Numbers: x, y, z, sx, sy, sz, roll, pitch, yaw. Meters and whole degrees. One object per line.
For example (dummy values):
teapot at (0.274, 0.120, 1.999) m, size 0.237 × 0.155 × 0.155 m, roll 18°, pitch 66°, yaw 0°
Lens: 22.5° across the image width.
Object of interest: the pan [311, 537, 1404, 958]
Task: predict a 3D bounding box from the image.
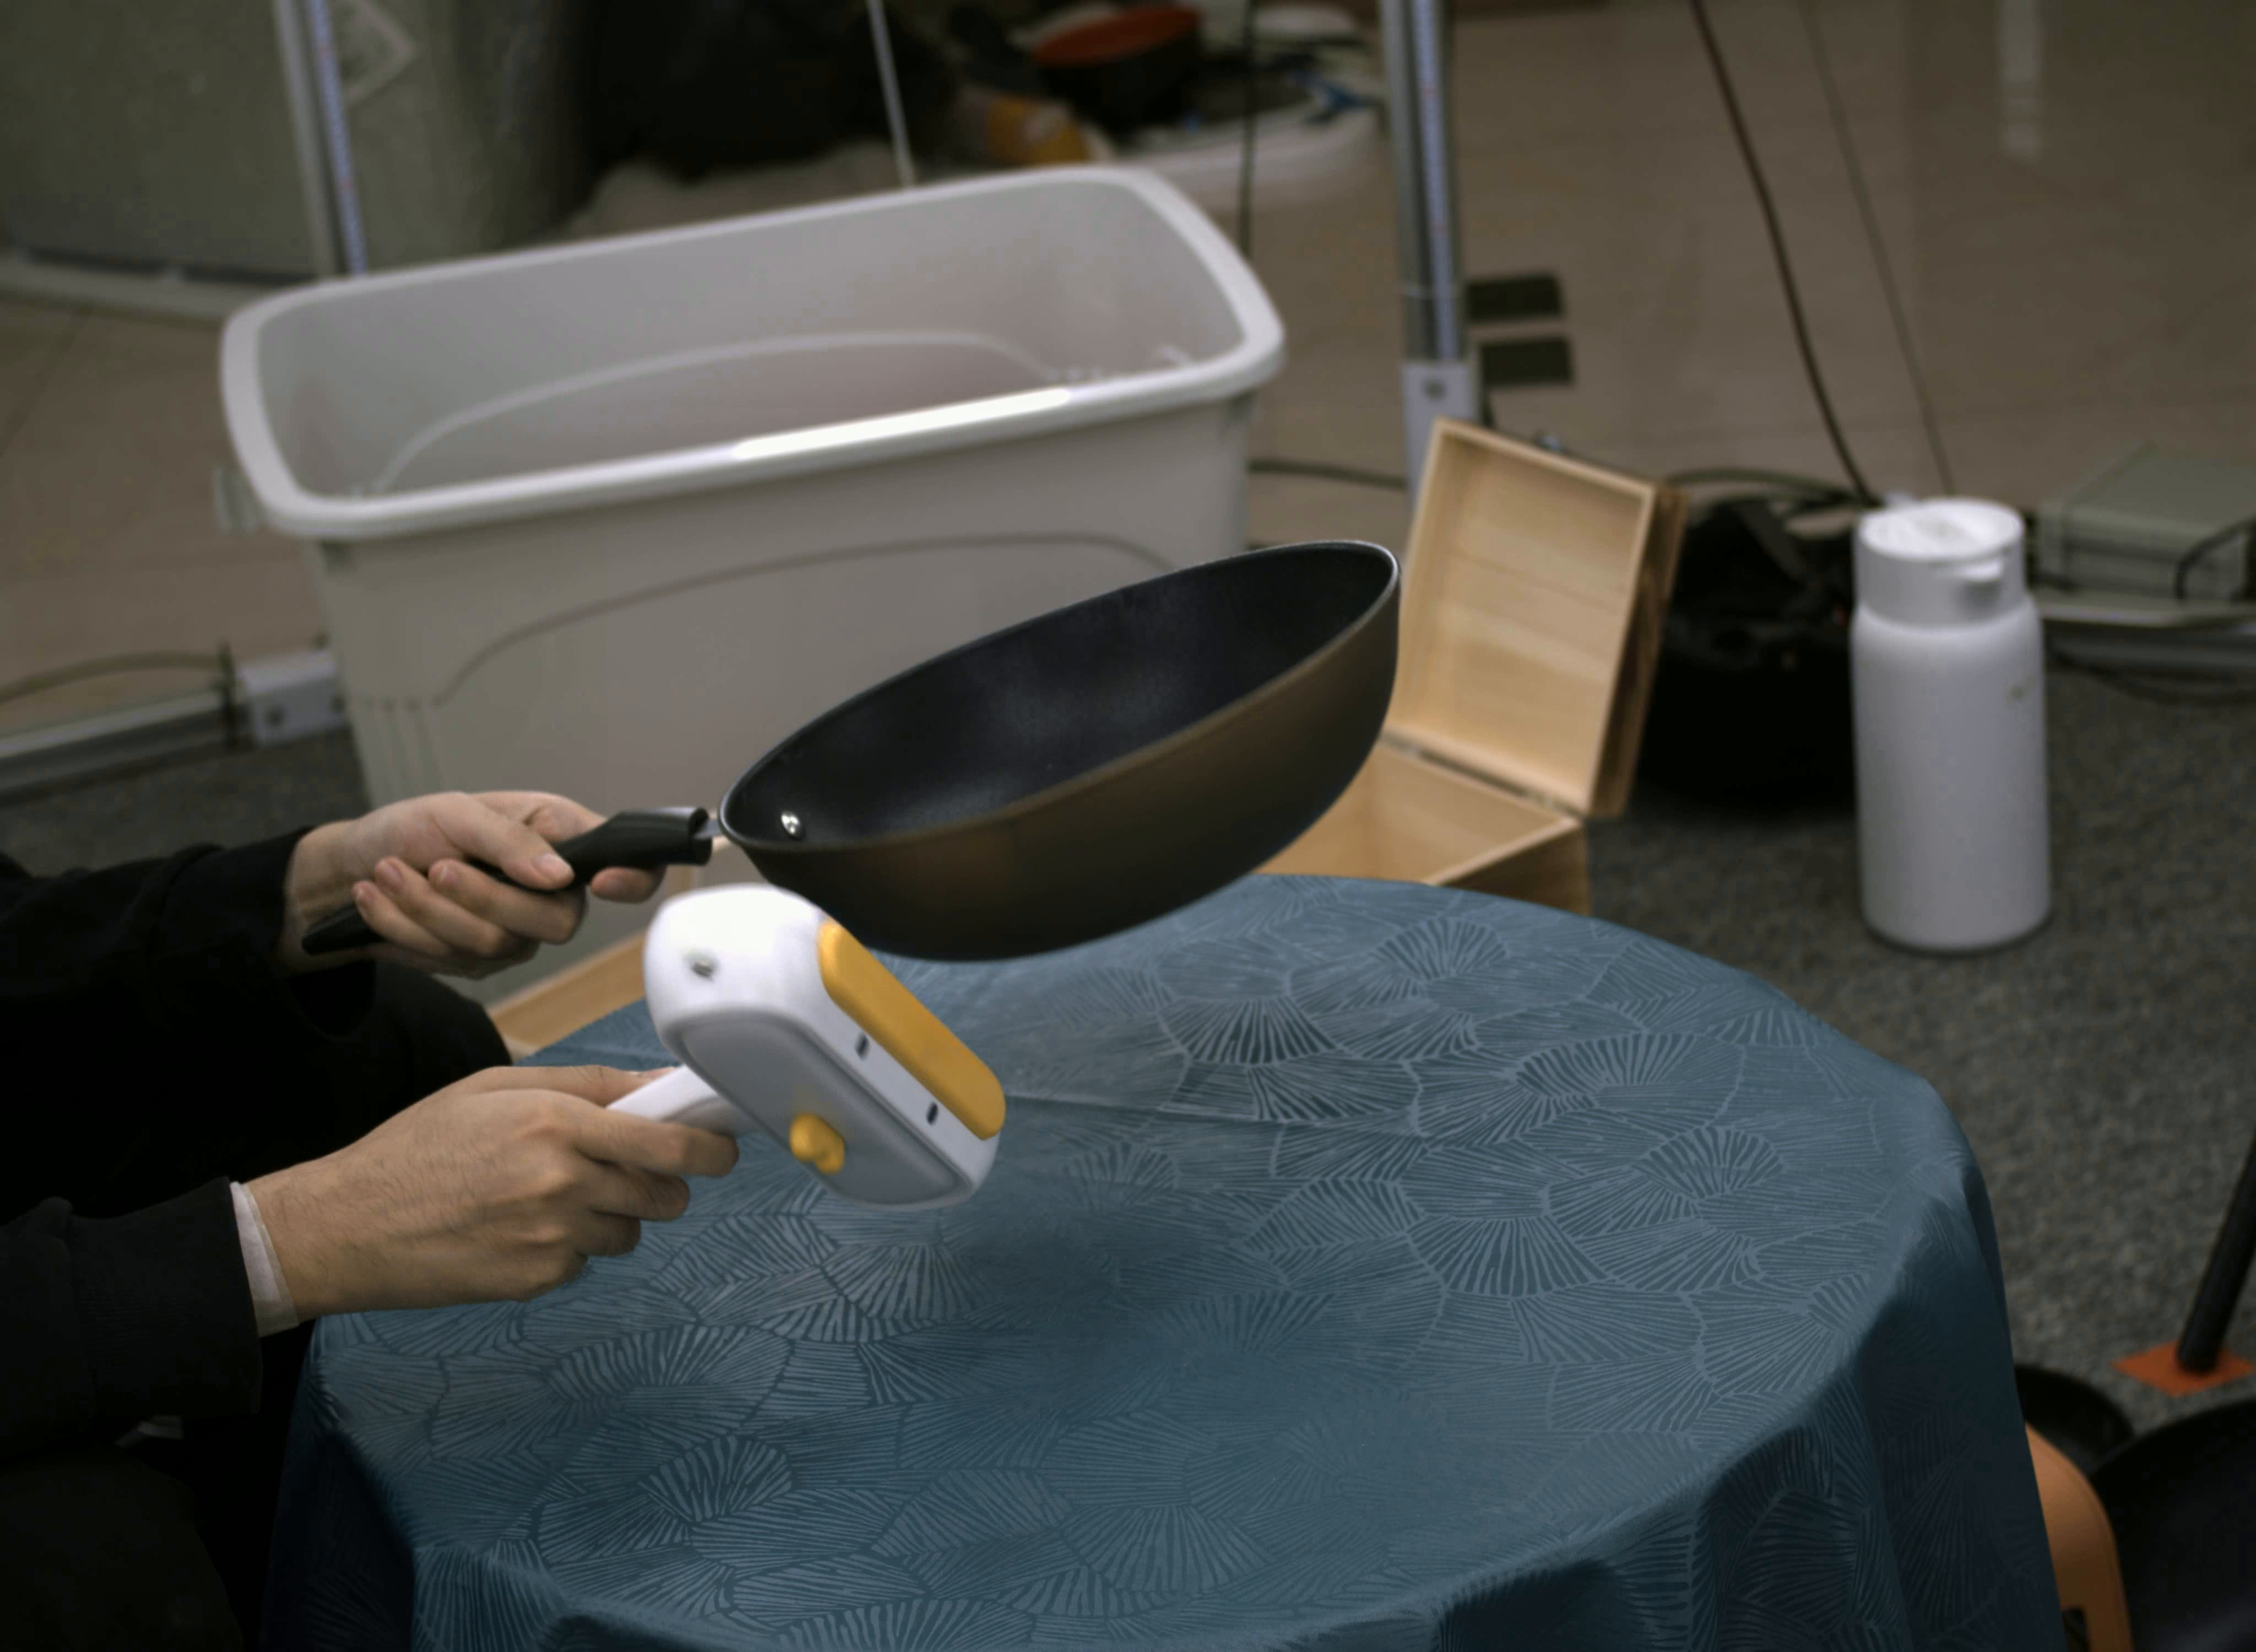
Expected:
pan at (-0.098, 0.006, 2.177) m, size 0.464 × 0.088 × 0.285 m, roll -17°, pitch 14°, yaw 16°

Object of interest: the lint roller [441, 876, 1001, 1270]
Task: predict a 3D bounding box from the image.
lint roller at (-0.161, 0.101, 2.008) m, size 0.193 × 0.195 × 0.073 m, roll -20°, pitch 59°, yaw 21°
